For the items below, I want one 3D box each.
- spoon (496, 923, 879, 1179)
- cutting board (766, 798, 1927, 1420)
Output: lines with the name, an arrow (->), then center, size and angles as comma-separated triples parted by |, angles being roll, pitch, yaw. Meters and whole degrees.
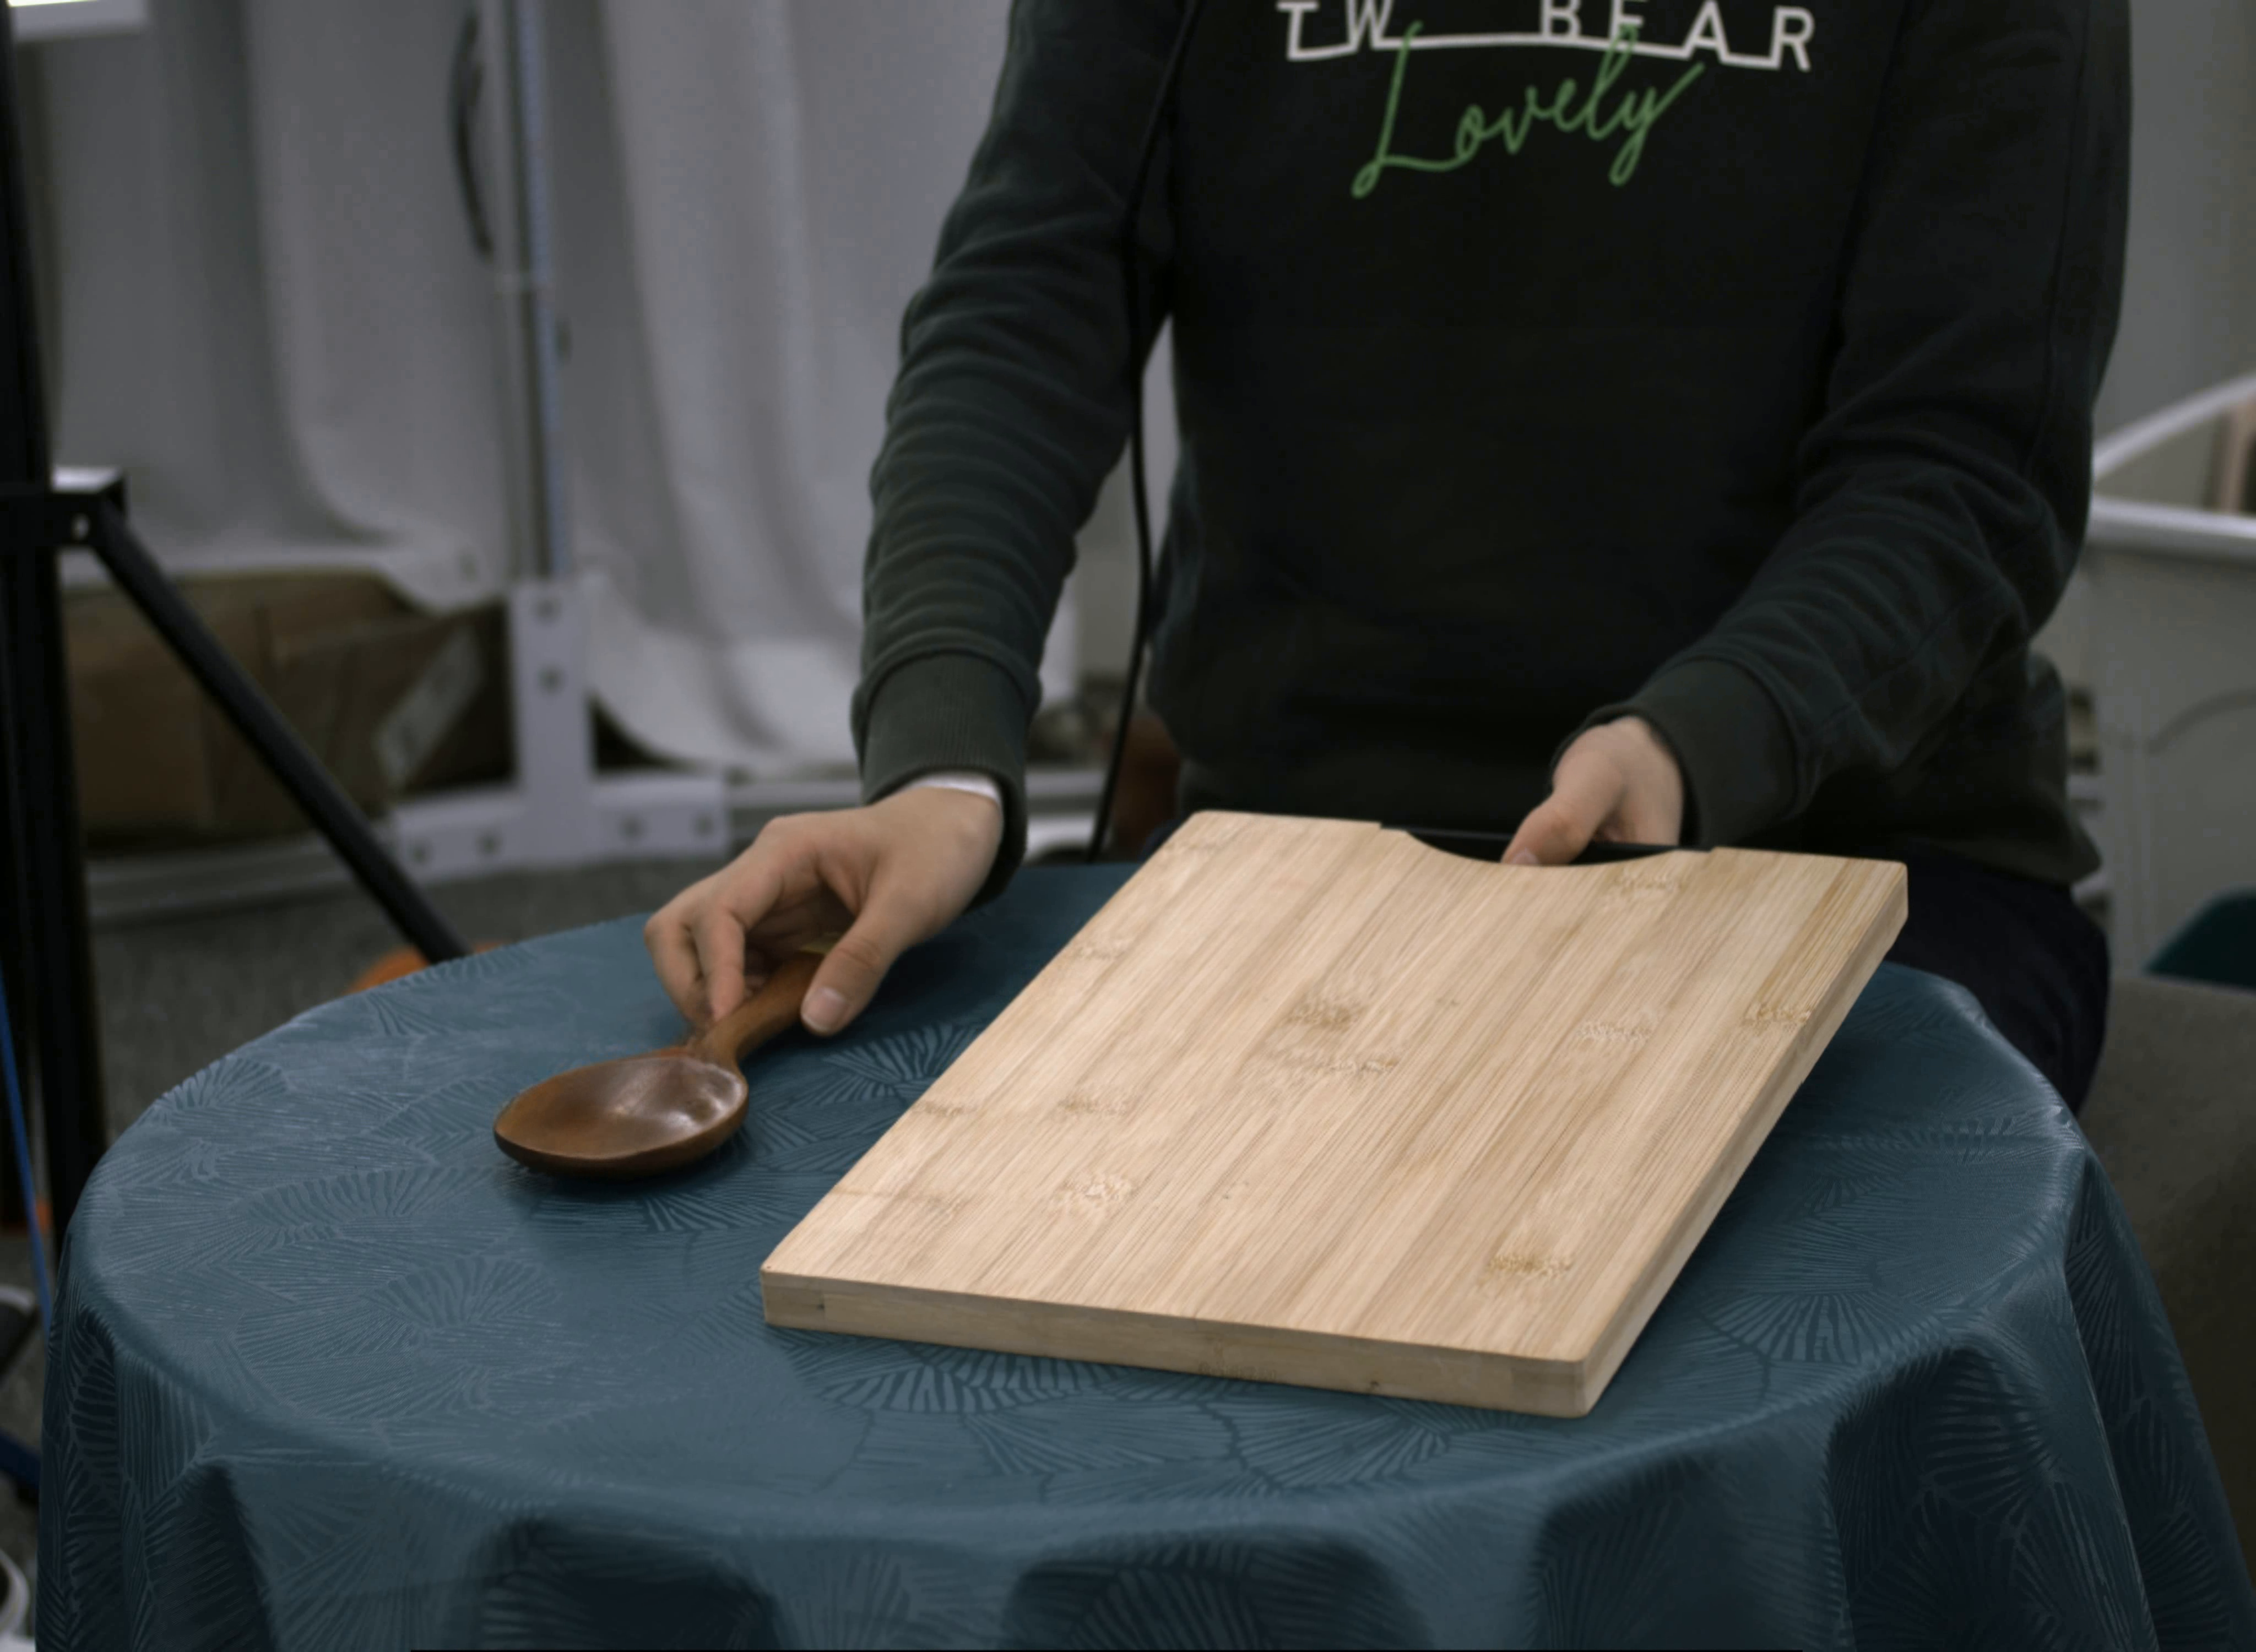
spoon -> -0.128, 0.072, 1.667 | 0.076, 0.017, 0.213 | 2, 19, 22
cutting board -> 0.074, 0.073, 1.564 | 0.254, 0.023, 0.345 | 4, 24, 22
